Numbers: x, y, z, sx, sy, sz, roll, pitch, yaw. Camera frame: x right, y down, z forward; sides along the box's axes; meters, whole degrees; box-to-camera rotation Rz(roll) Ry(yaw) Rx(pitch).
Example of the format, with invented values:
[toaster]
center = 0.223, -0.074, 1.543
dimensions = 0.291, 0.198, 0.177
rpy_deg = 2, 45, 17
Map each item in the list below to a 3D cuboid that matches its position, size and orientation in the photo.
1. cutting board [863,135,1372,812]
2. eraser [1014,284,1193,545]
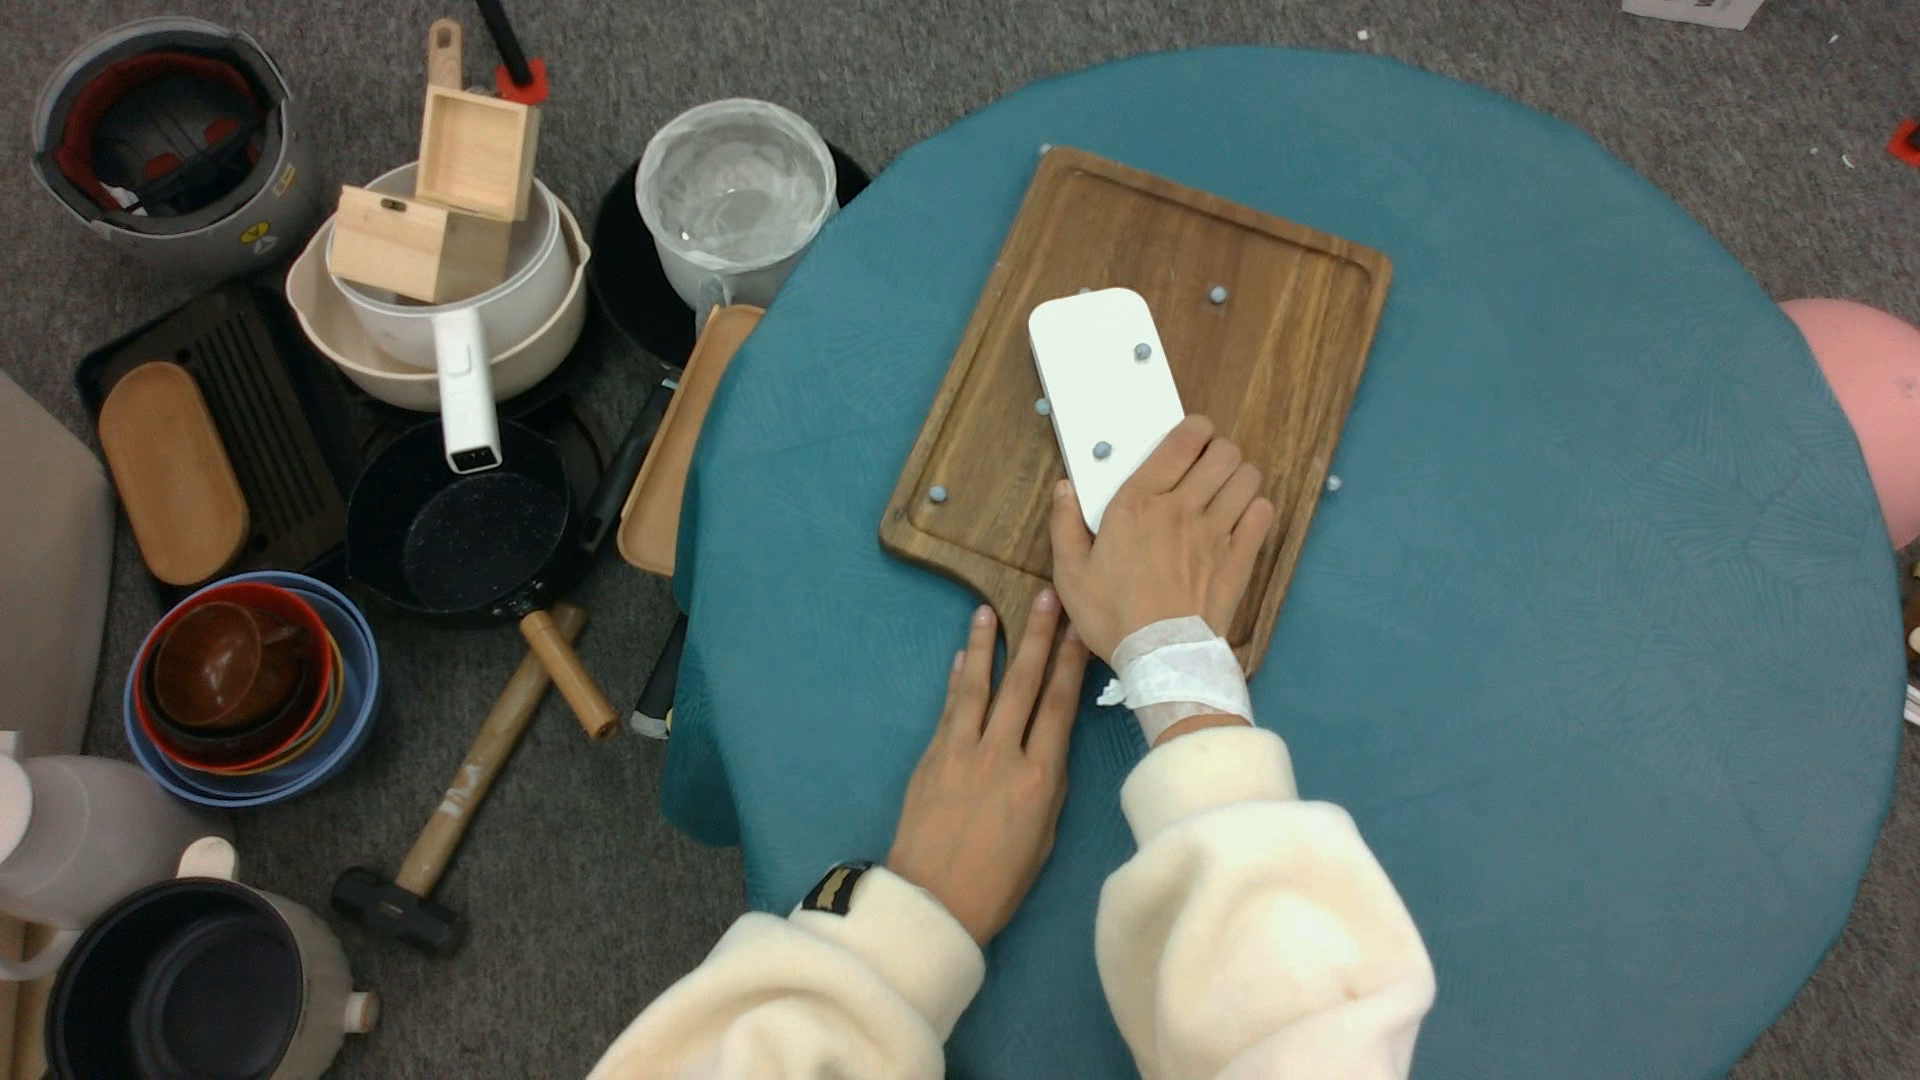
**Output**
[cutting board]
center = 0.068, -0.034, 0.683
dimensions = 0.201, 0.023, 0.353
rpy_deg = 20, 71, 6
[eraser]
center = 0.067, -0.063, 0.673
dimensions = 0.063, 0.034, 0.131
rpy_deg = -12, 71, -7
